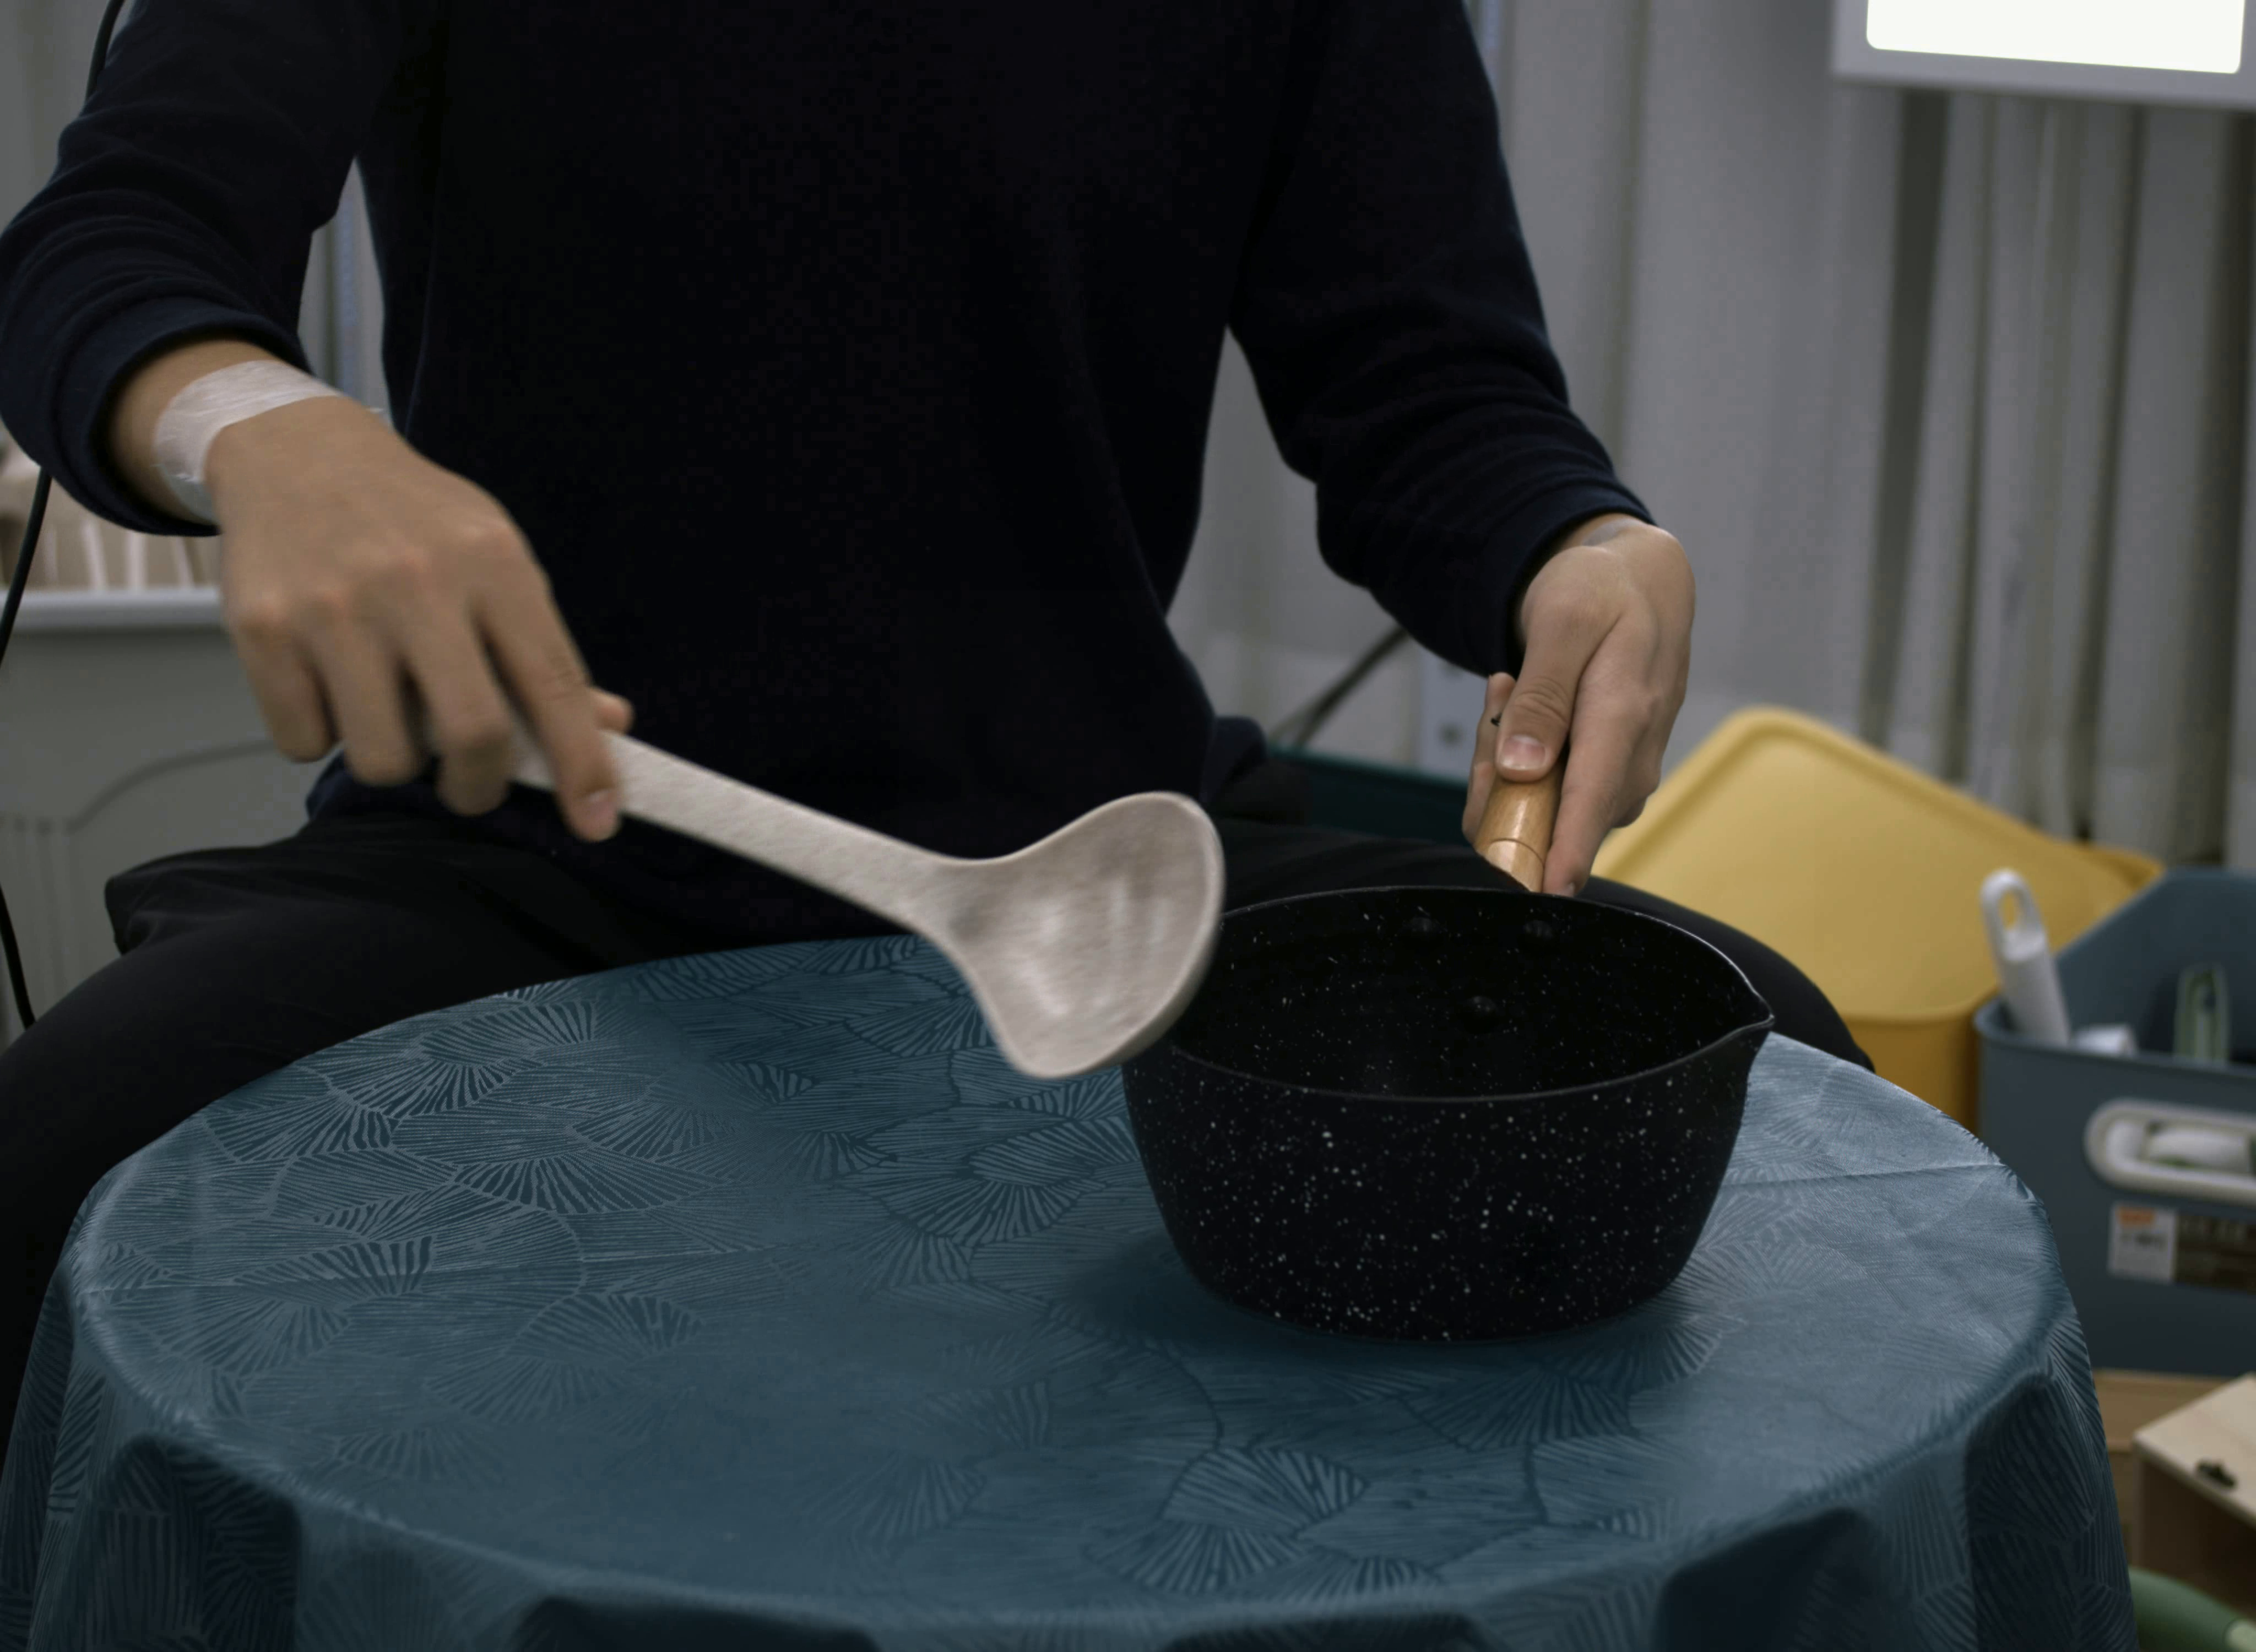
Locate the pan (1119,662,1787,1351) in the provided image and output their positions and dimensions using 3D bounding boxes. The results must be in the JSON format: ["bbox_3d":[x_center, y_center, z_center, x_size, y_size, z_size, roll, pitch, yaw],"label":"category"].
[{"bbox_3d":[0.105,0.050,1.622,0.206,0.109,0.342,2,20,11],"label":"pan"}]

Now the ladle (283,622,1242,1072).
[{"bbox_3d":[-0.102,-0.011,1.444,0.275,0.089,0.069,21,-16,-4],"label":"ladle"}]
